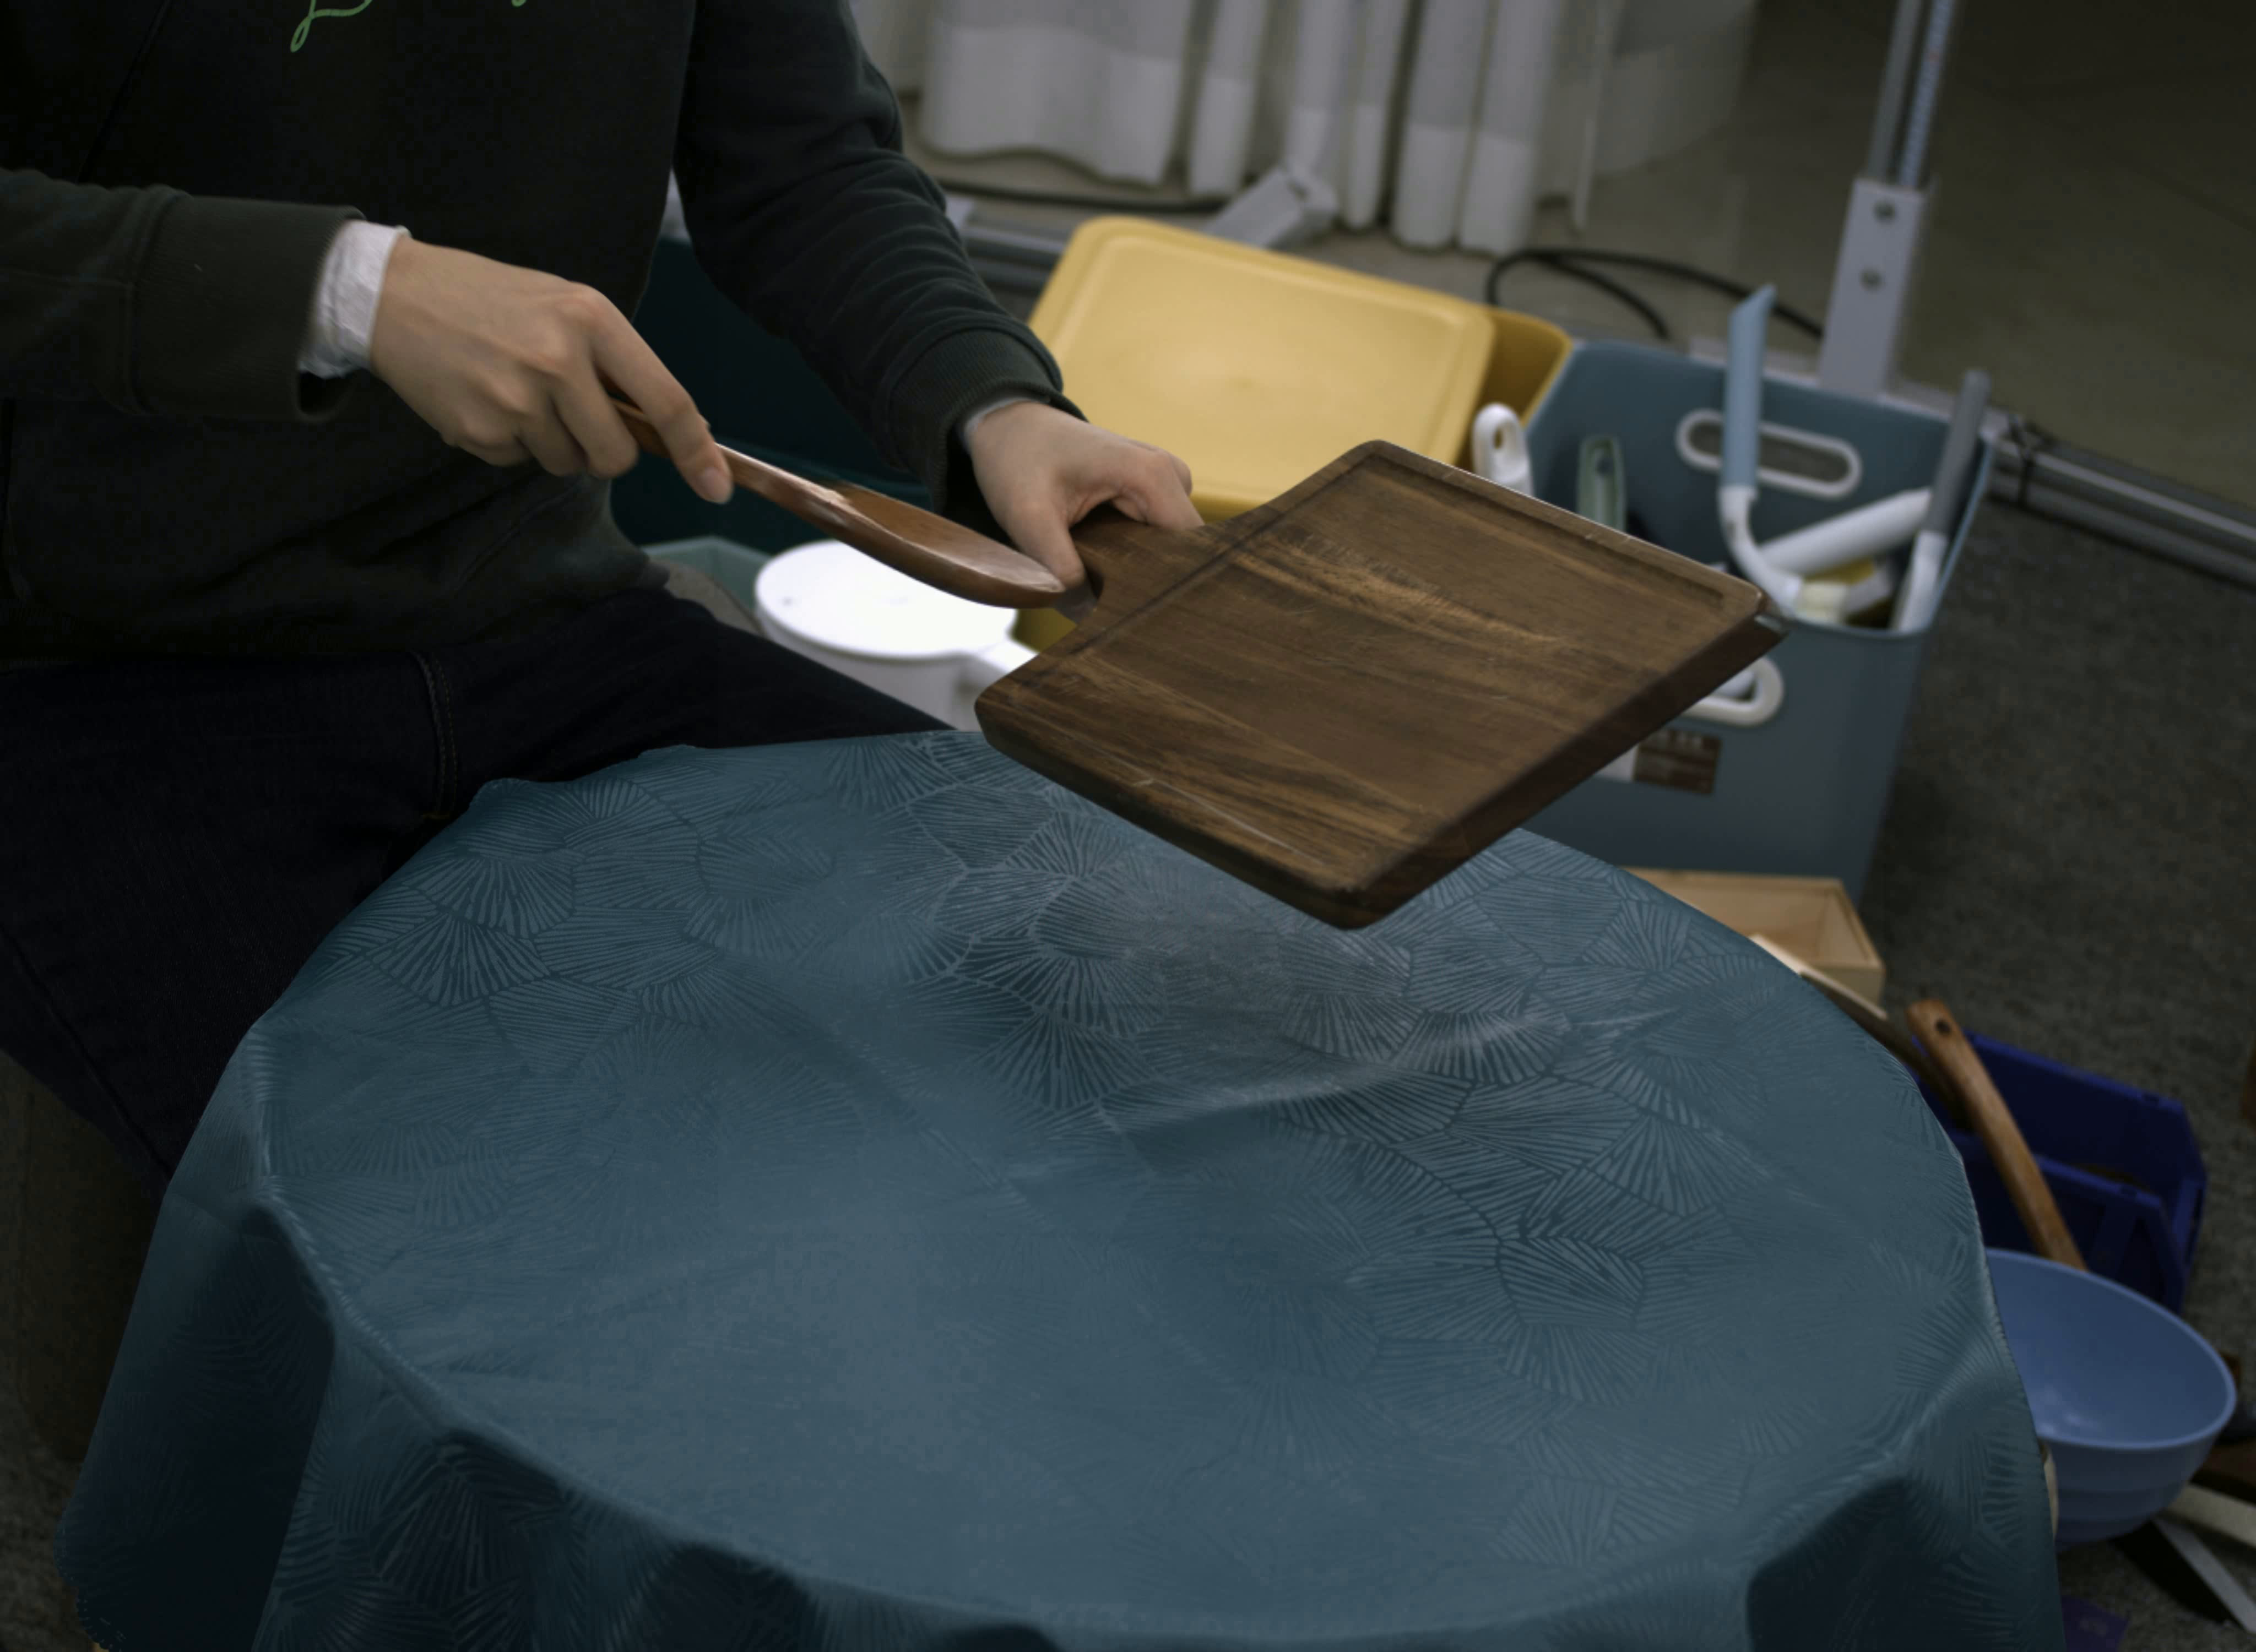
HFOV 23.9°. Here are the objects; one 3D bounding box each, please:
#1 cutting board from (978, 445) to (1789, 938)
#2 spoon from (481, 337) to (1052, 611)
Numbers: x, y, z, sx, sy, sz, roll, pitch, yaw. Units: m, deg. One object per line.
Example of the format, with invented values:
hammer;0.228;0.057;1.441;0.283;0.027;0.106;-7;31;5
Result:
cutting board;0.060;-0.066;1.918;0.201;0.023;0.355;-35;31;-18
spoon;-0.126;-0.120;1.857;0.215;0.017;0.076;24;15;-11
